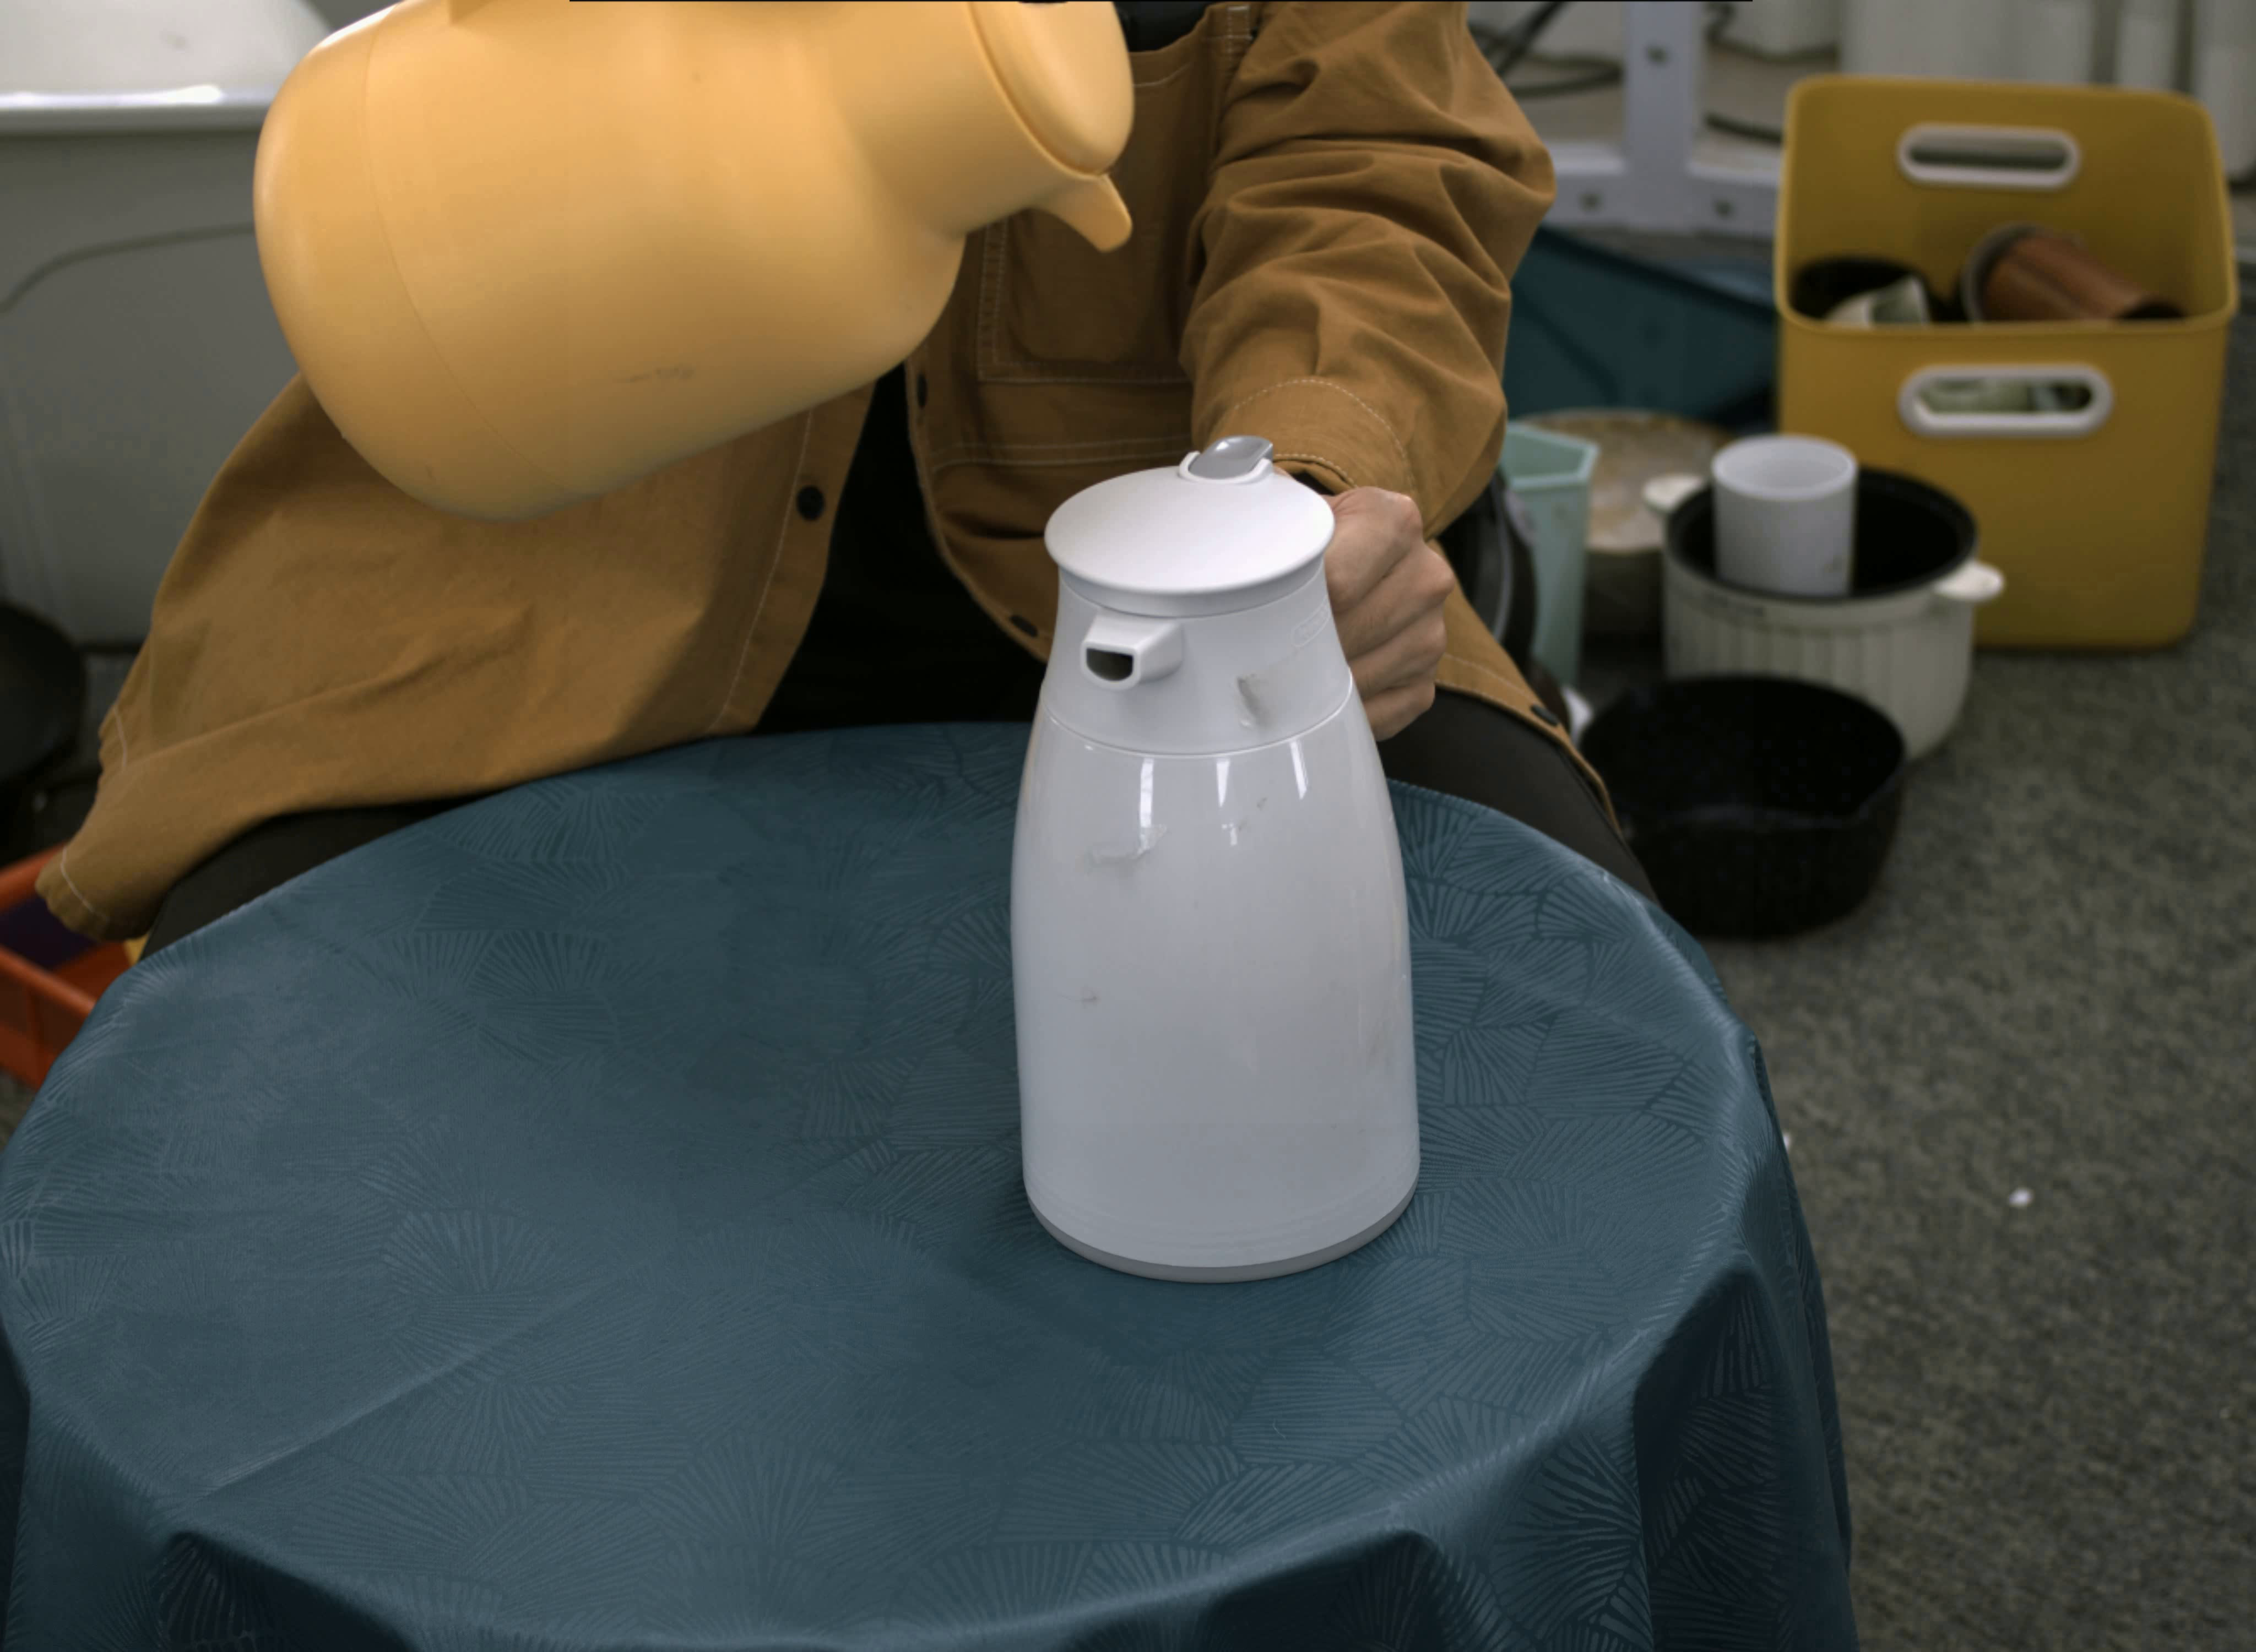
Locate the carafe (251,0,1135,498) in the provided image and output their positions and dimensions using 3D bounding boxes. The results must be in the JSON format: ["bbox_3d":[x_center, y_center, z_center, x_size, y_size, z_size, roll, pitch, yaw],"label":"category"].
[{"bbox_3d":[-0.136,-0.222,1.711,0.257,0.201,0.166,-17,28,20],"label":"carafe"}]

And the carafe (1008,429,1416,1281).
[{"bbox_3d":[0.031,-0.002,1.827,0.131,0.246,0.170,8,28,22],"label":"carafe"}]
